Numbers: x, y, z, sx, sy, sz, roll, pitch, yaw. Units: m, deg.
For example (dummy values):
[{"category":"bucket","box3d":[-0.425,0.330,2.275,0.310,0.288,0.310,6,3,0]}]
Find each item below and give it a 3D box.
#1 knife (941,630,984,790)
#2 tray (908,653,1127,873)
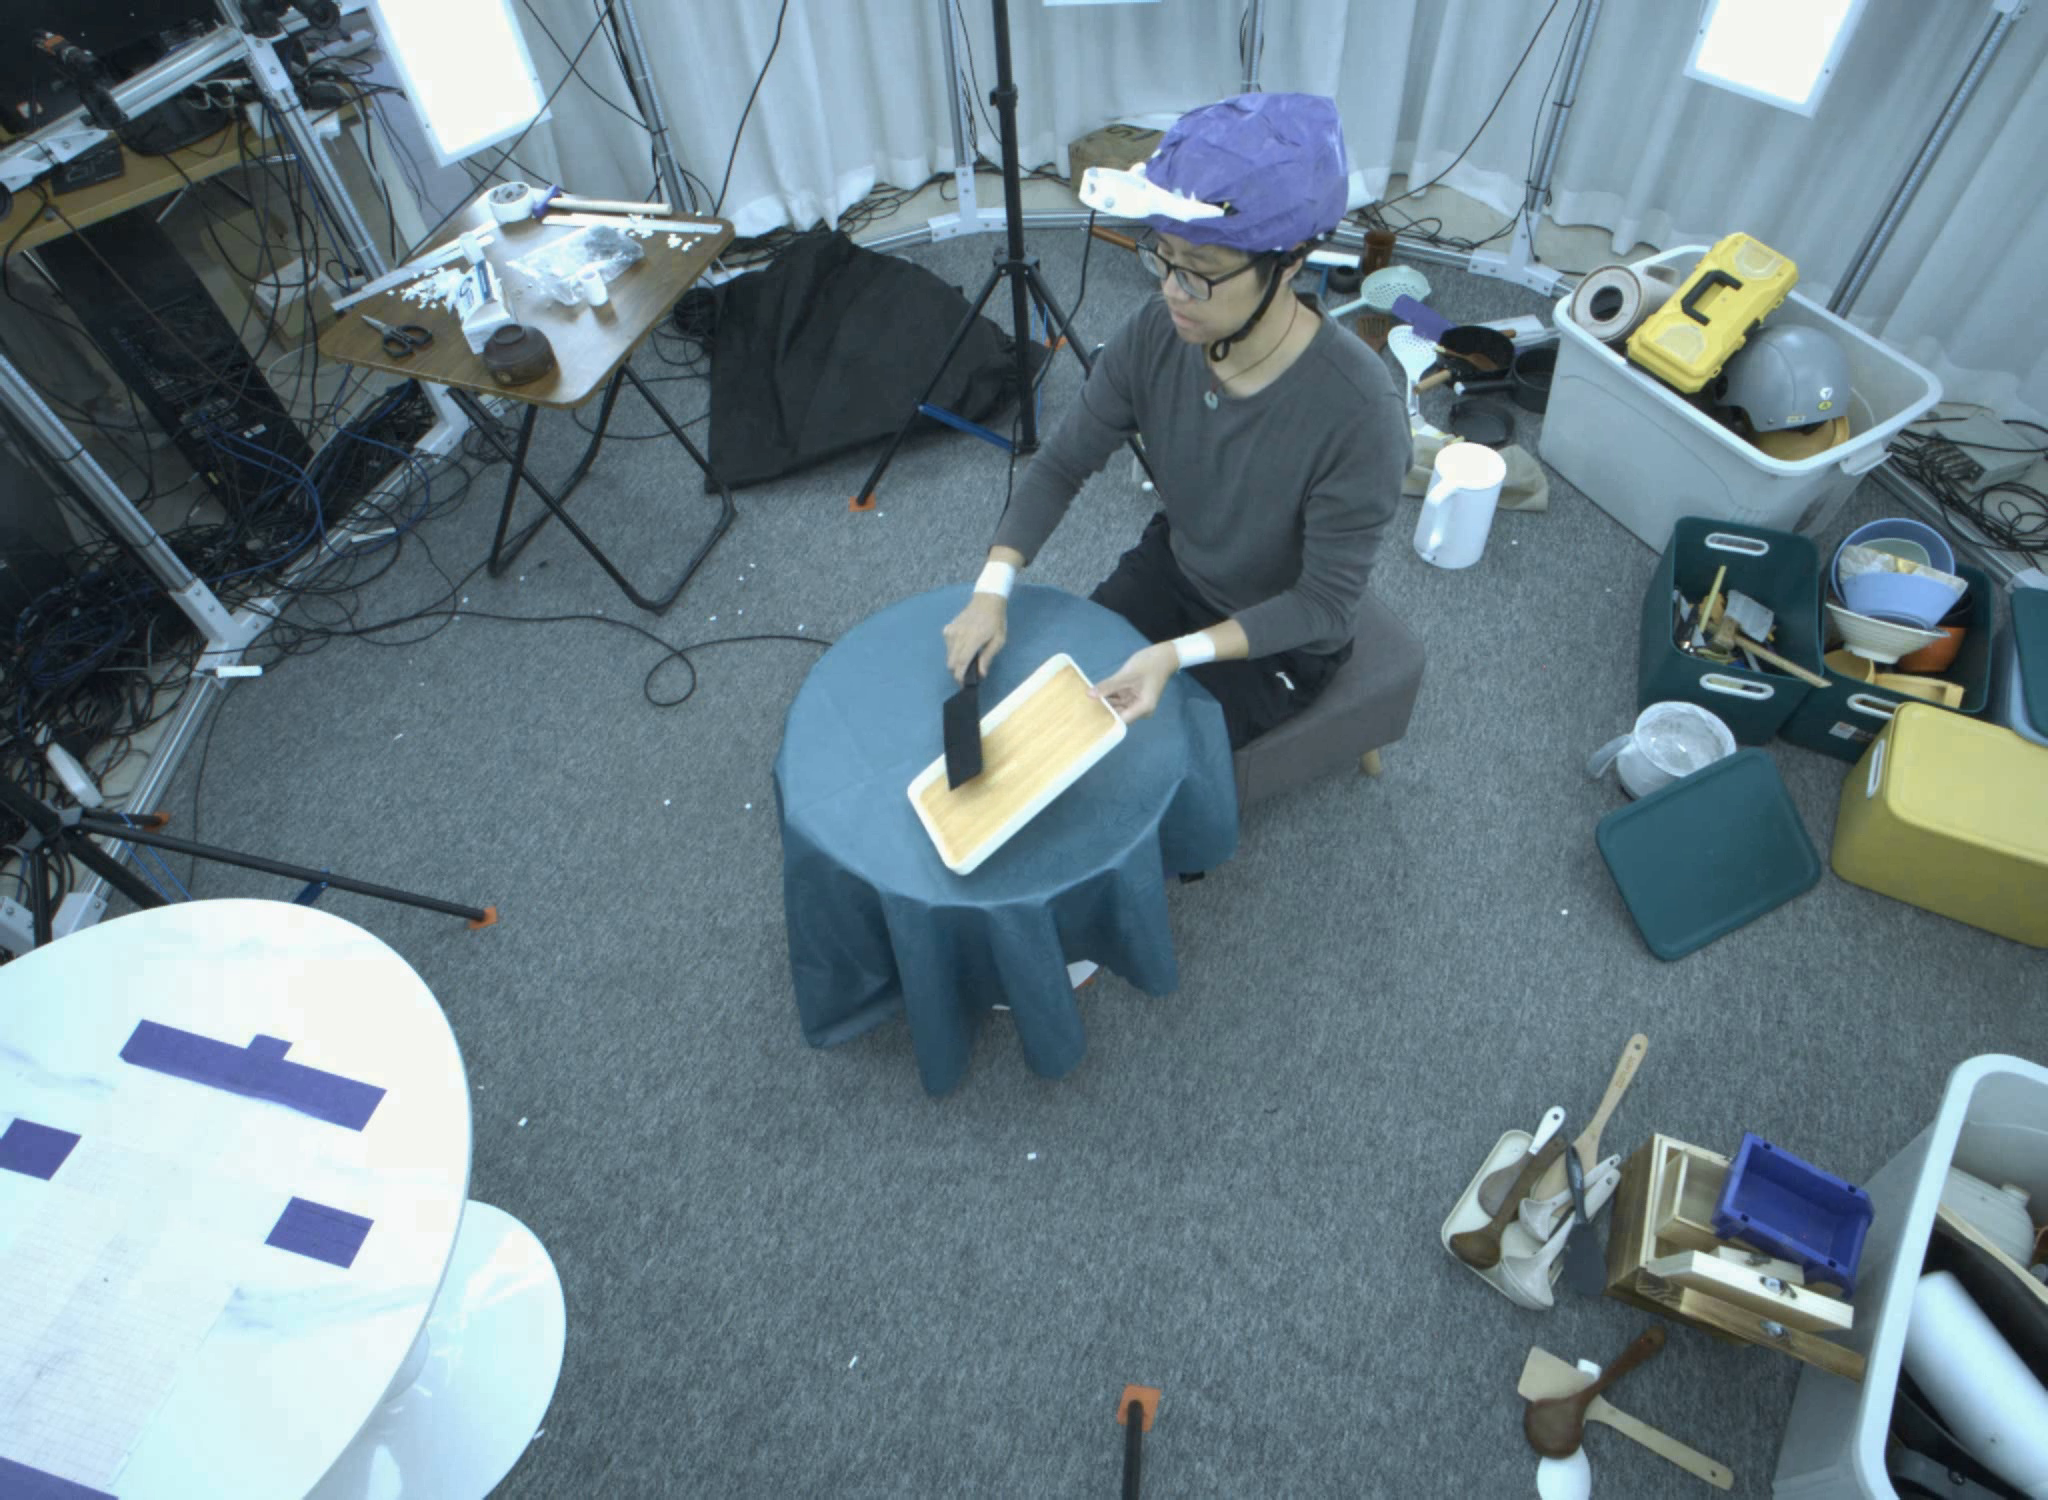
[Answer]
[{"category":"knife","box3d":[-0.089,-0.065,1.765,0.080,0.021,0.299,-27,43,26]},{"category":"tray","box3d":[-0.015,0.015,1.670,0.300,0.028,0.187,-41,44,5]}]
